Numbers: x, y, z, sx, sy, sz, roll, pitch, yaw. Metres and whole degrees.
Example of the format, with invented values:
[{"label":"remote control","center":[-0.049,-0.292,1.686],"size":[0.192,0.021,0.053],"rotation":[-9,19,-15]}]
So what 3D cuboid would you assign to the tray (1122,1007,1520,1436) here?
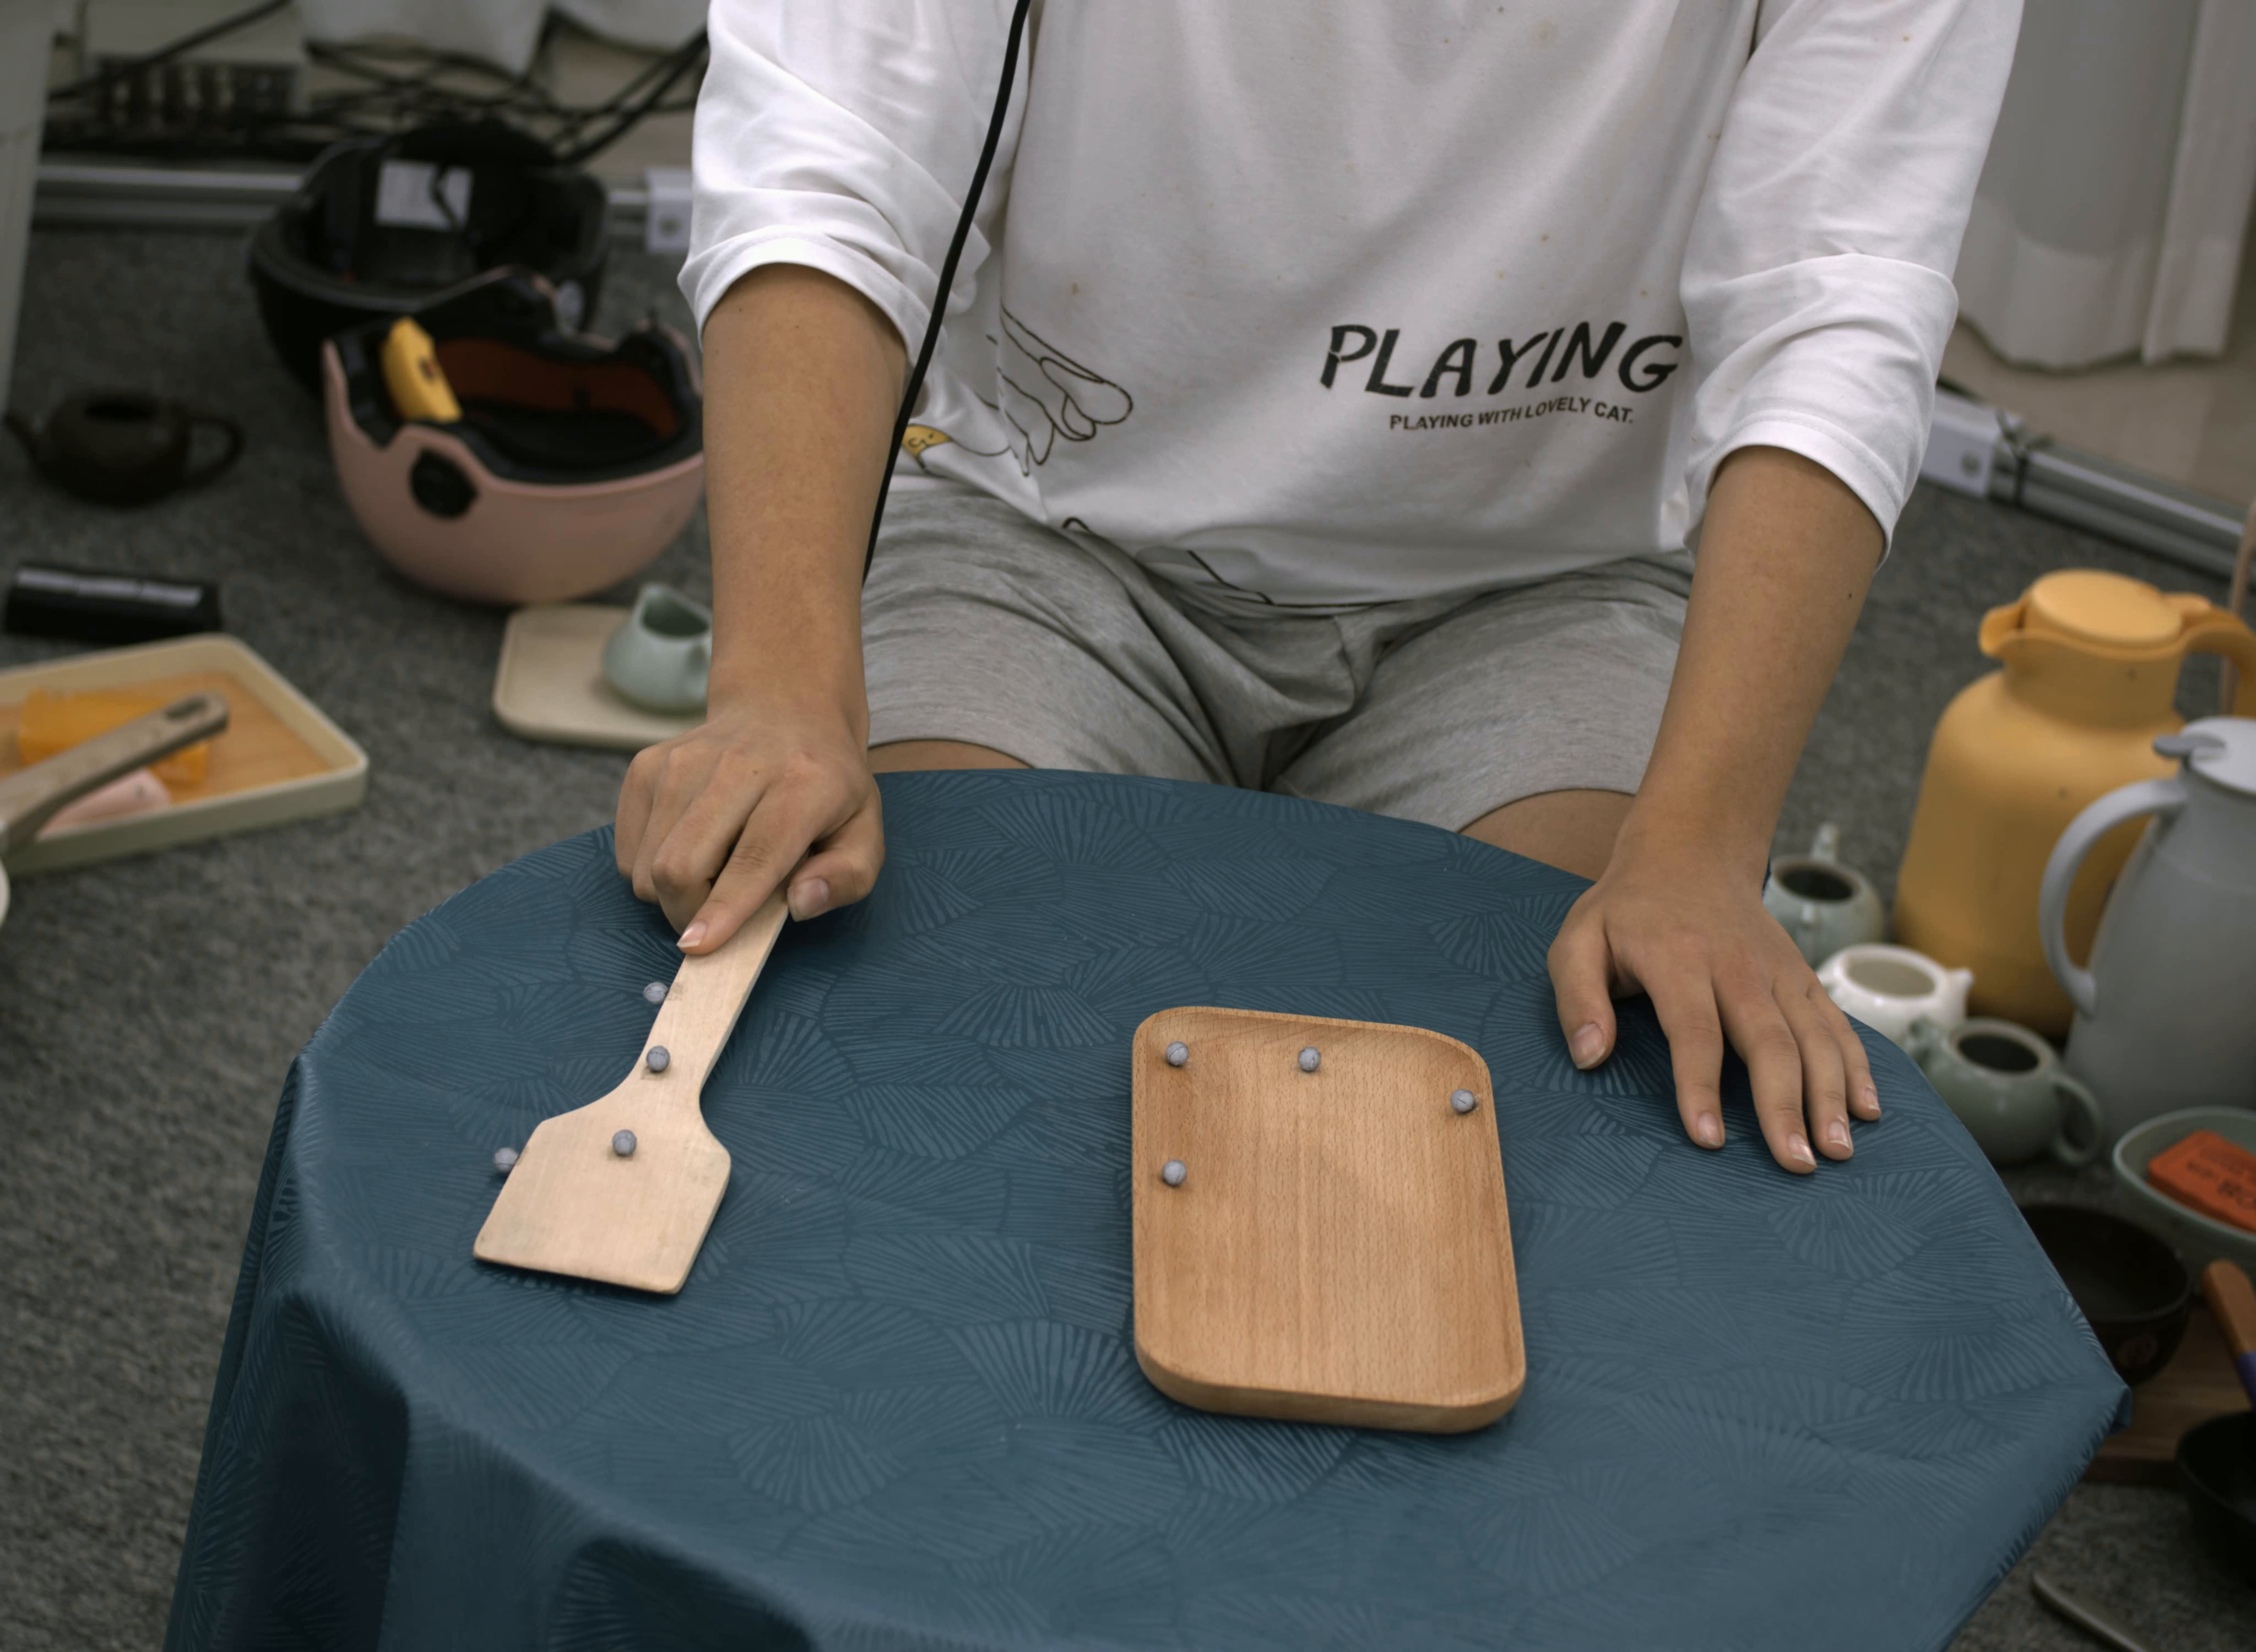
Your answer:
[{"label":"tray","center":[0.063,0.130,1.790],"size":[0.130,0.023,0.252],"rotation":[4,27,0]}]

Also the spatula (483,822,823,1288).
[{"label":"spatula","center":[-0.152,0.073,1.841],"size":[0.072,0.010,0.294],"rotation":[8,31,7]}]
